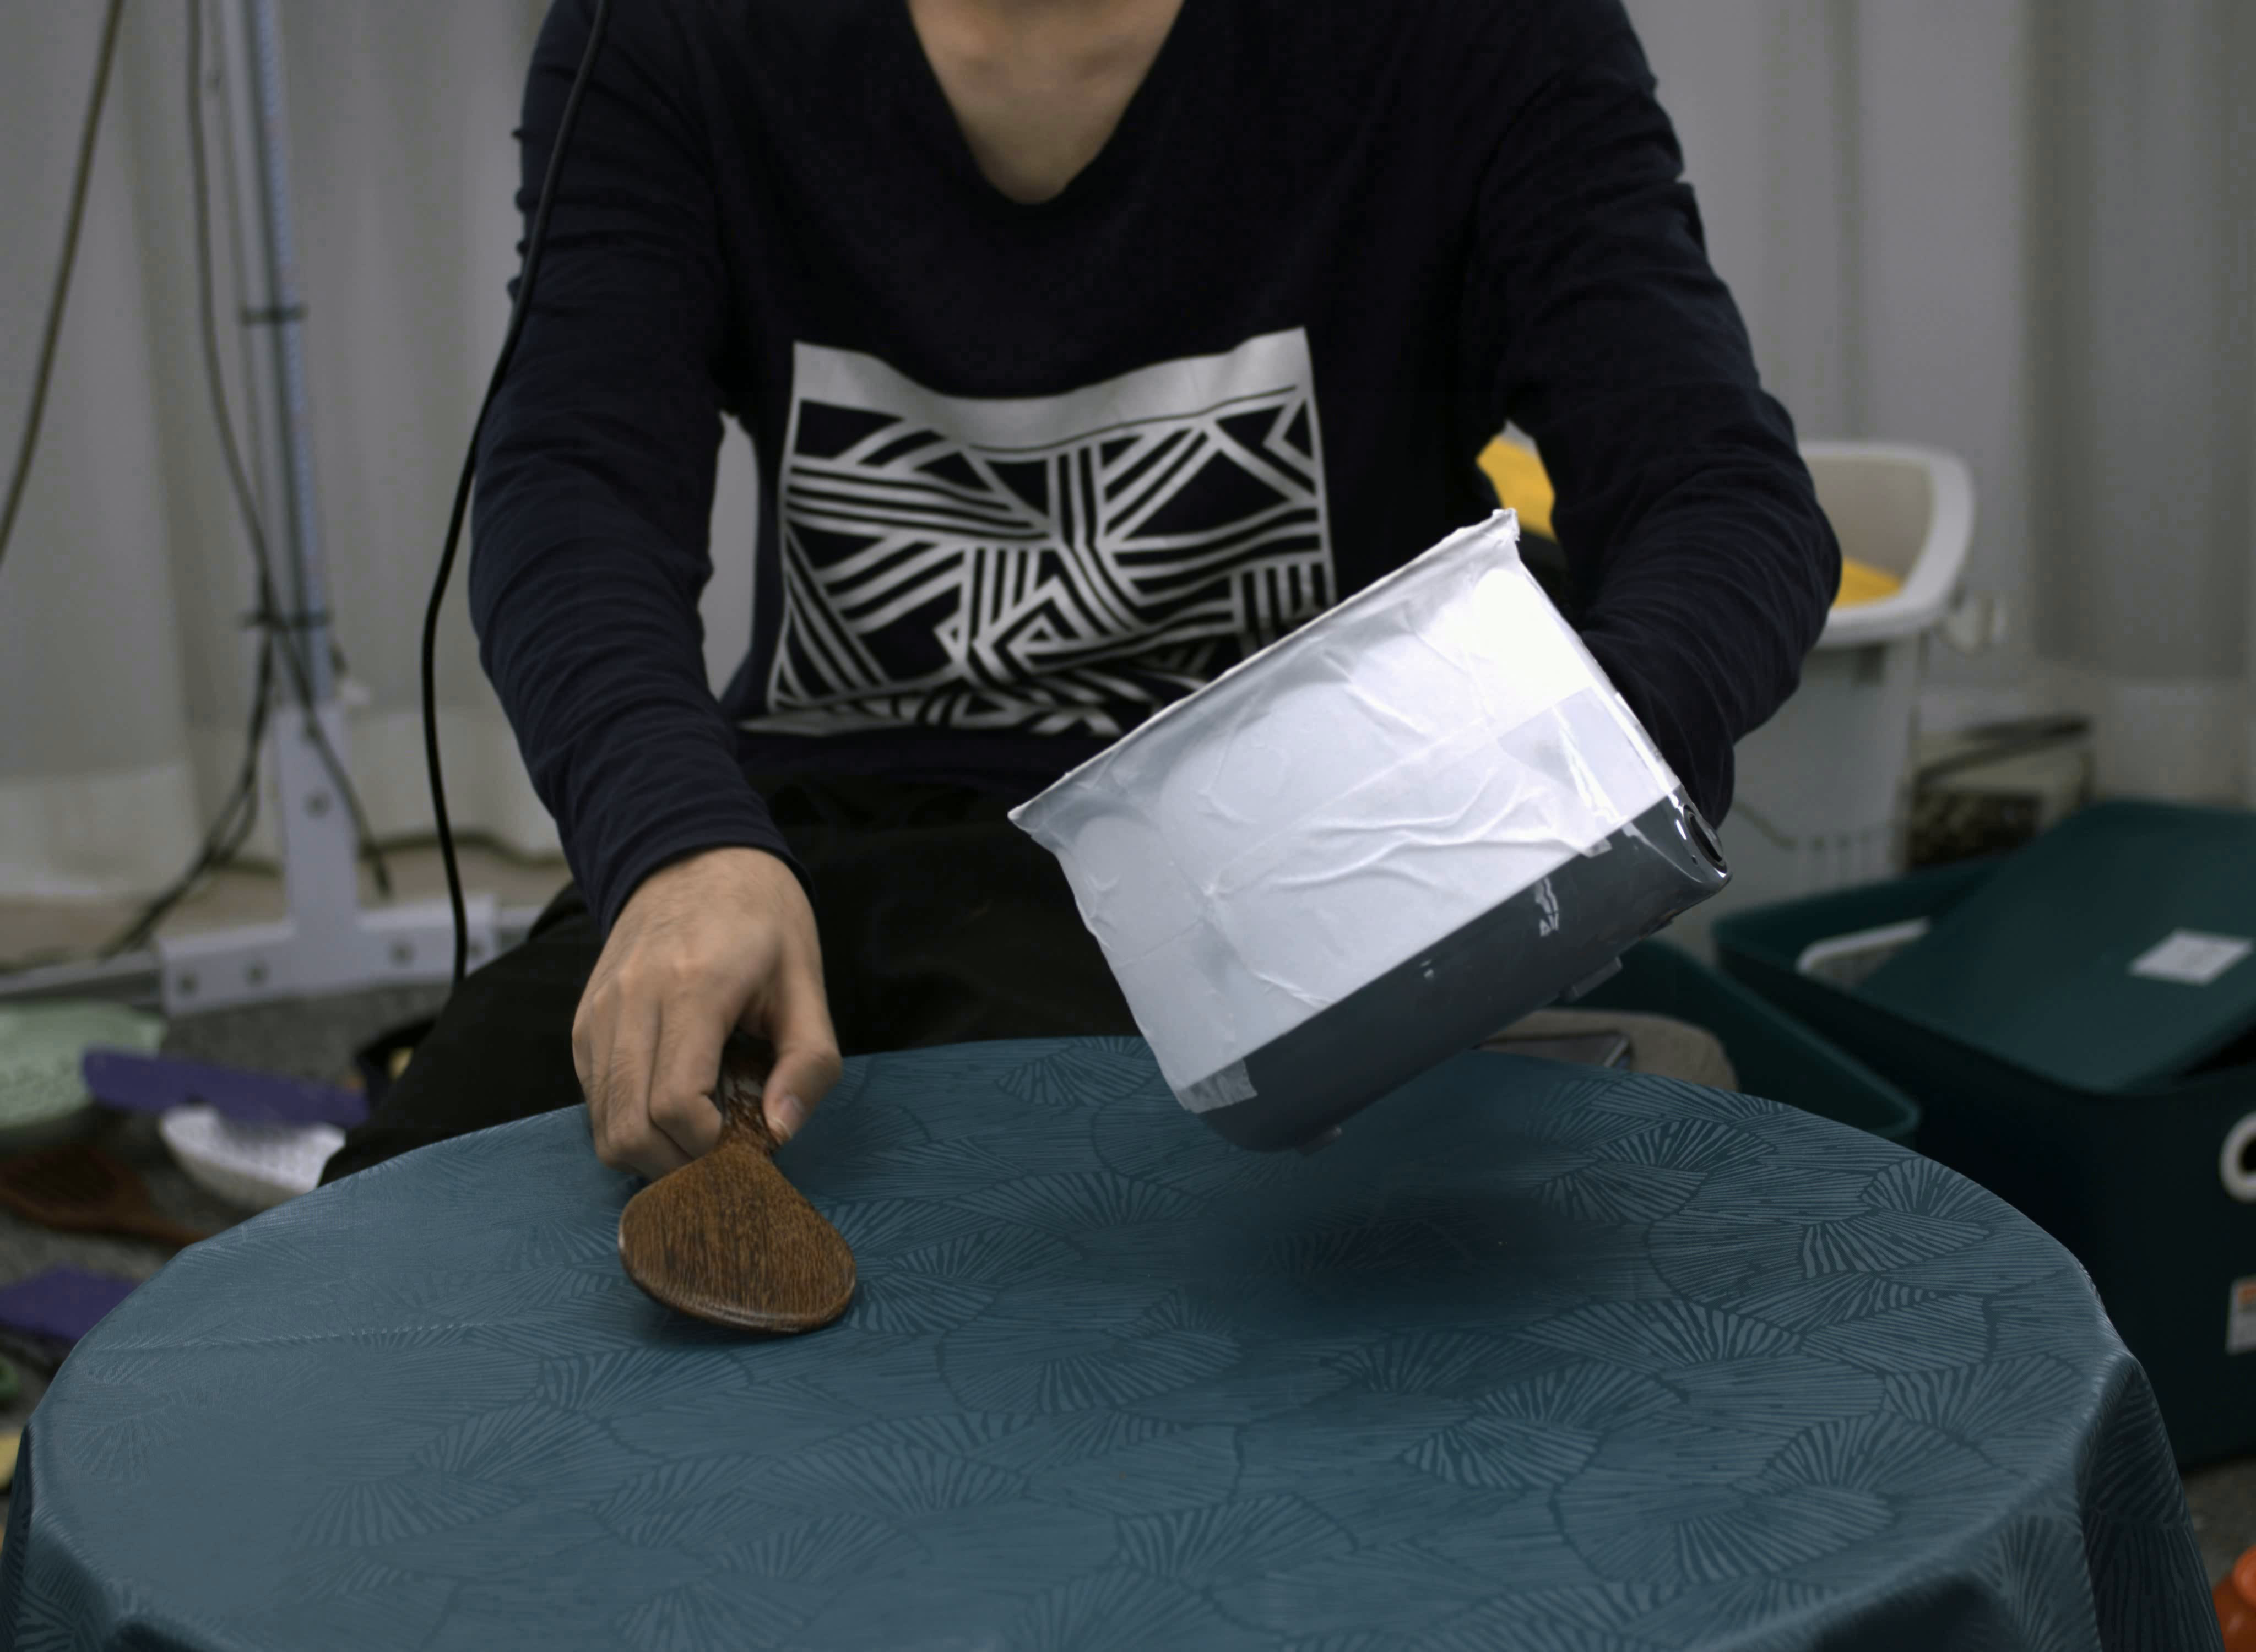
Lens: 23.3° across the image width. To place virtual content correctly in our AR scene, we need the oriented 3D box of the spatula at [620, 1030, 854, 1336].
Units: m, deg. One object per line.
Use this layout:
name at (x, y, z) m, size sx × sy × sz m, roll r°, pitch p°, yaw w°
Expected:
spatula at (-0.118, 0.107, 1.695) m, size 0.071 × 0.009 × 0.218 m, roll 14°, pitch 19°, yaw -6°

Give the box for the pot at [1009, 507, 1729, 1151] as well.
pot at (0.078, 0.000, 1.658) m, size 0.178 × 0.137 × 0.234 m, roll -29°, pitch 1°, yaw 15°
